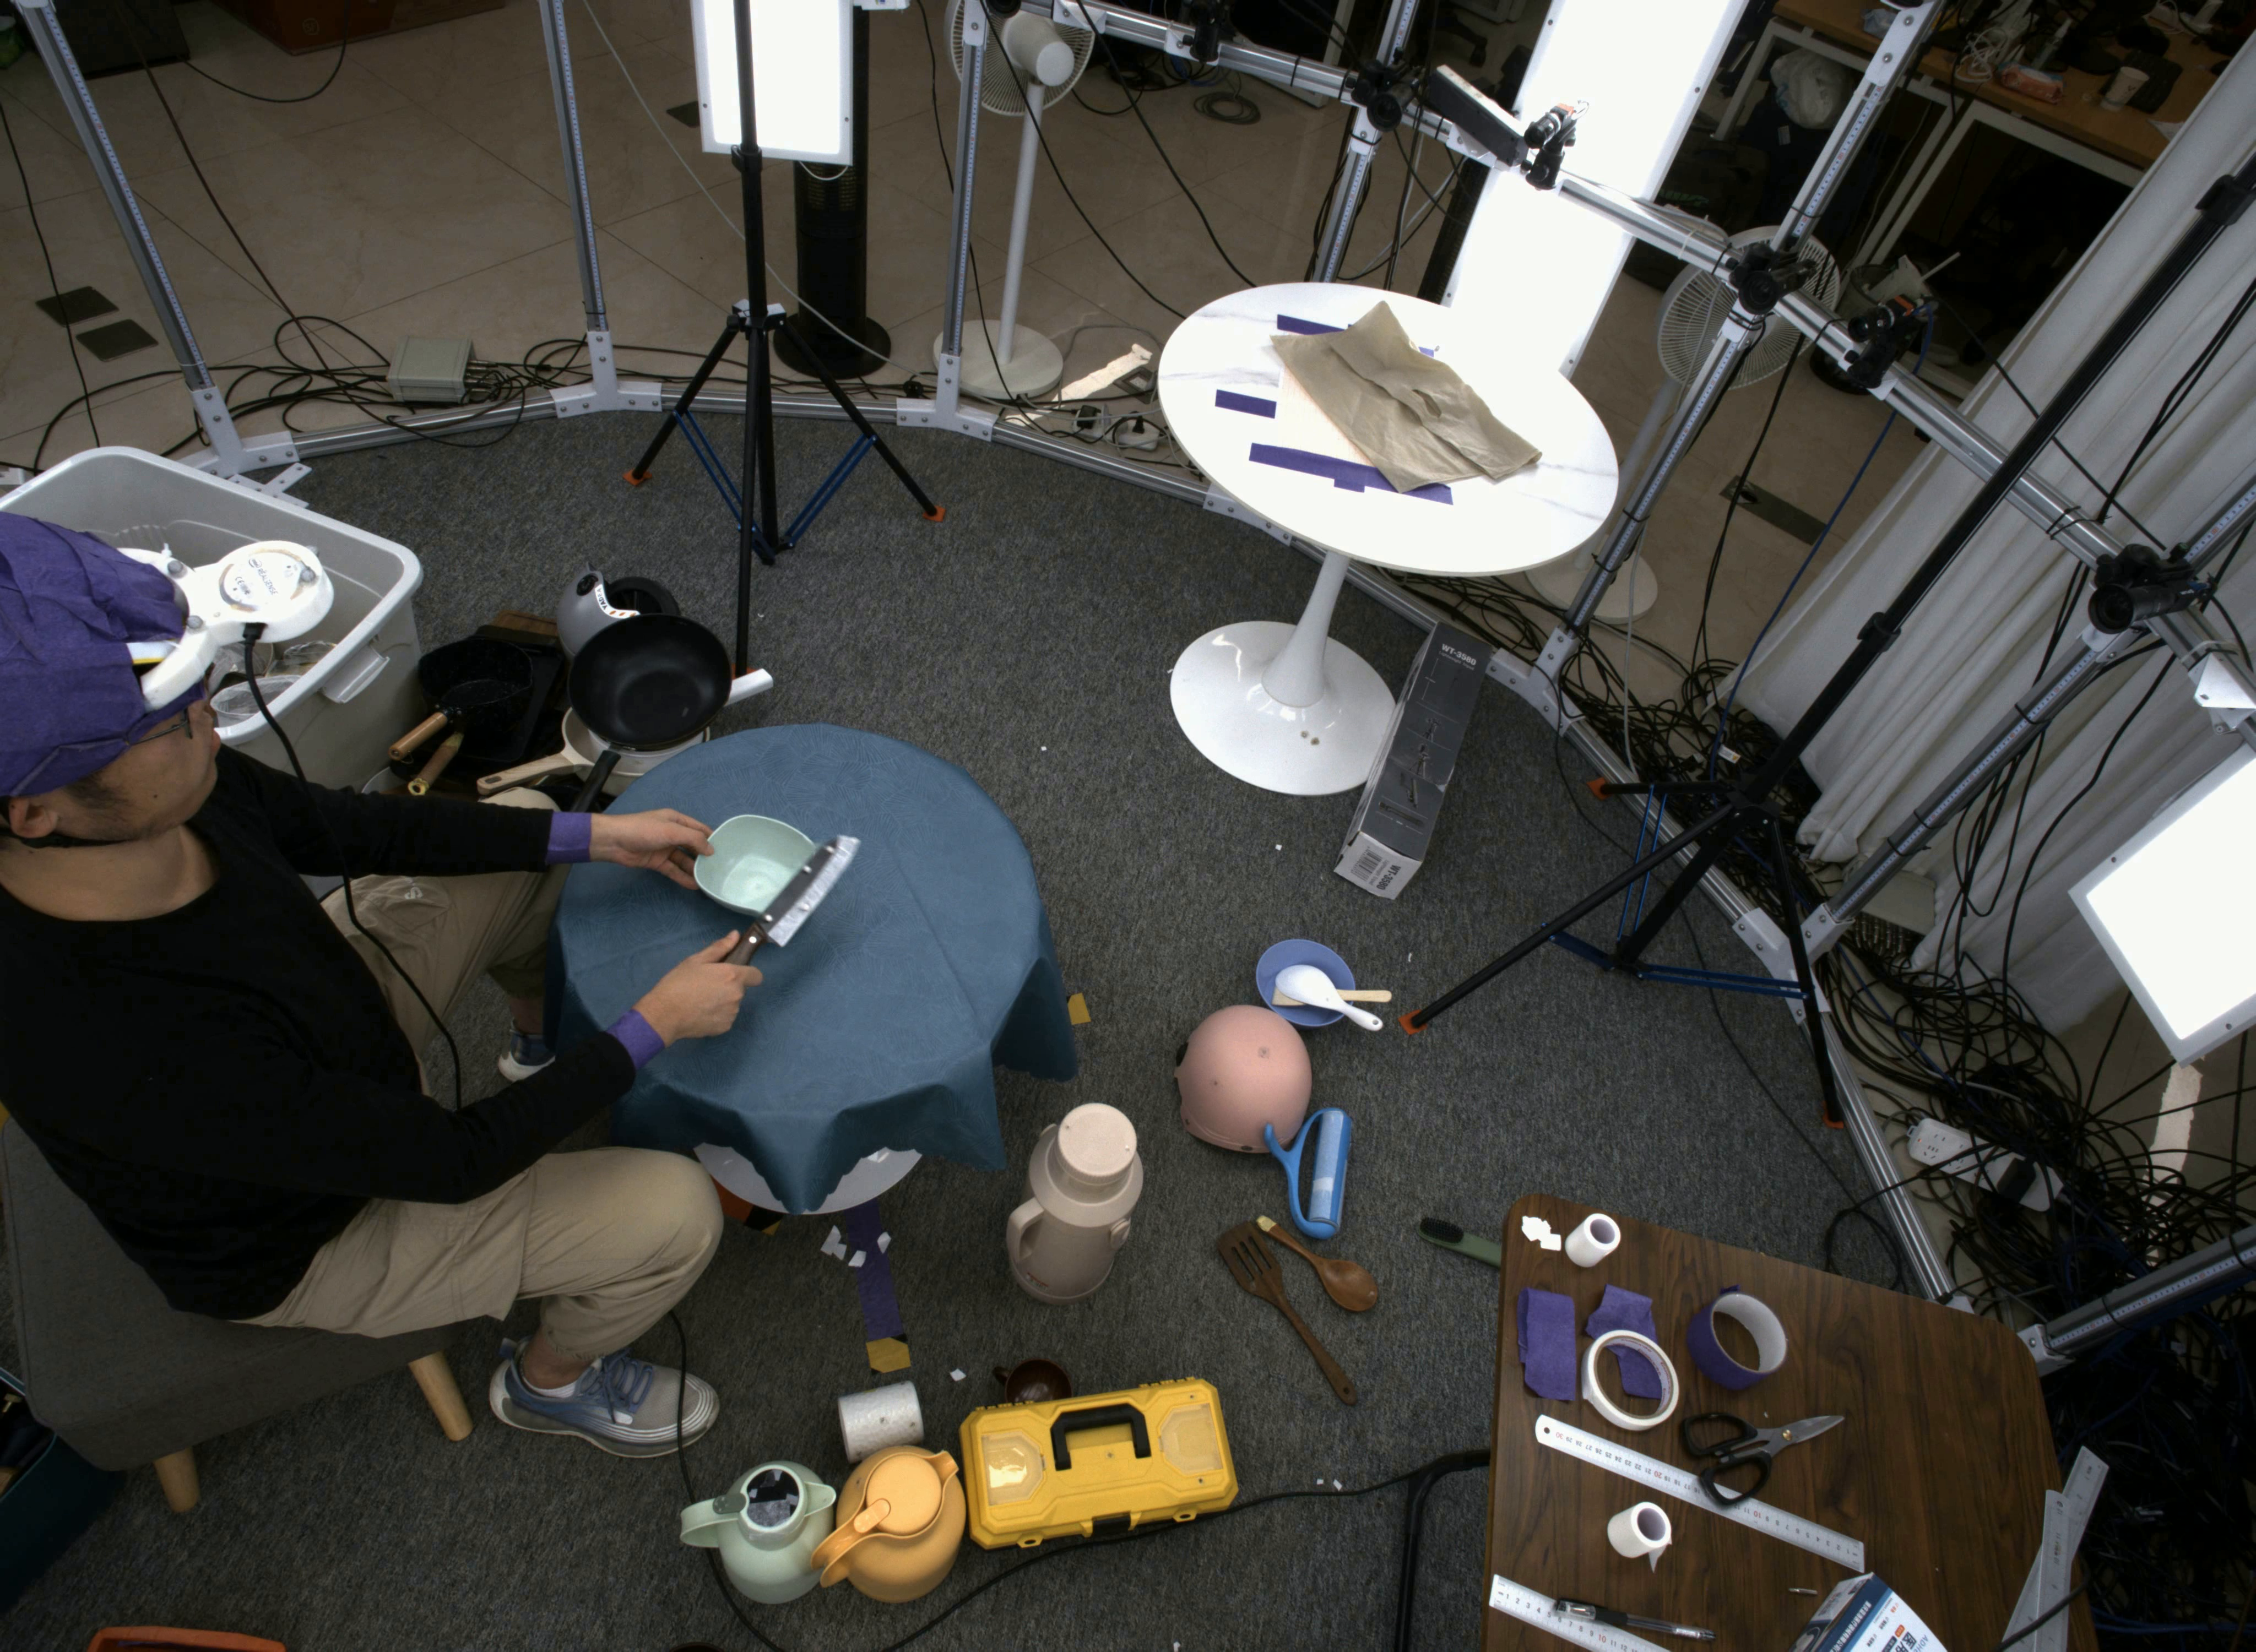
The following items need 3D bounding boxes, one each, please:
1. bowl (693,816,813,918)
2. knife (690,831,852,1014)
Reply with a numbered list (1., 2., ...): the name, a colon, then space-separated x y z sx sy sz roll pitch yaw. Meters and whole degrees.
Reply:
1. bowl: -0.469 0.061 1.628 0.151 0.060 0.148 9 51 -9
2. knife: -0.420 0.108 1.539 0.051 0.020 0.288 44 60 -14
